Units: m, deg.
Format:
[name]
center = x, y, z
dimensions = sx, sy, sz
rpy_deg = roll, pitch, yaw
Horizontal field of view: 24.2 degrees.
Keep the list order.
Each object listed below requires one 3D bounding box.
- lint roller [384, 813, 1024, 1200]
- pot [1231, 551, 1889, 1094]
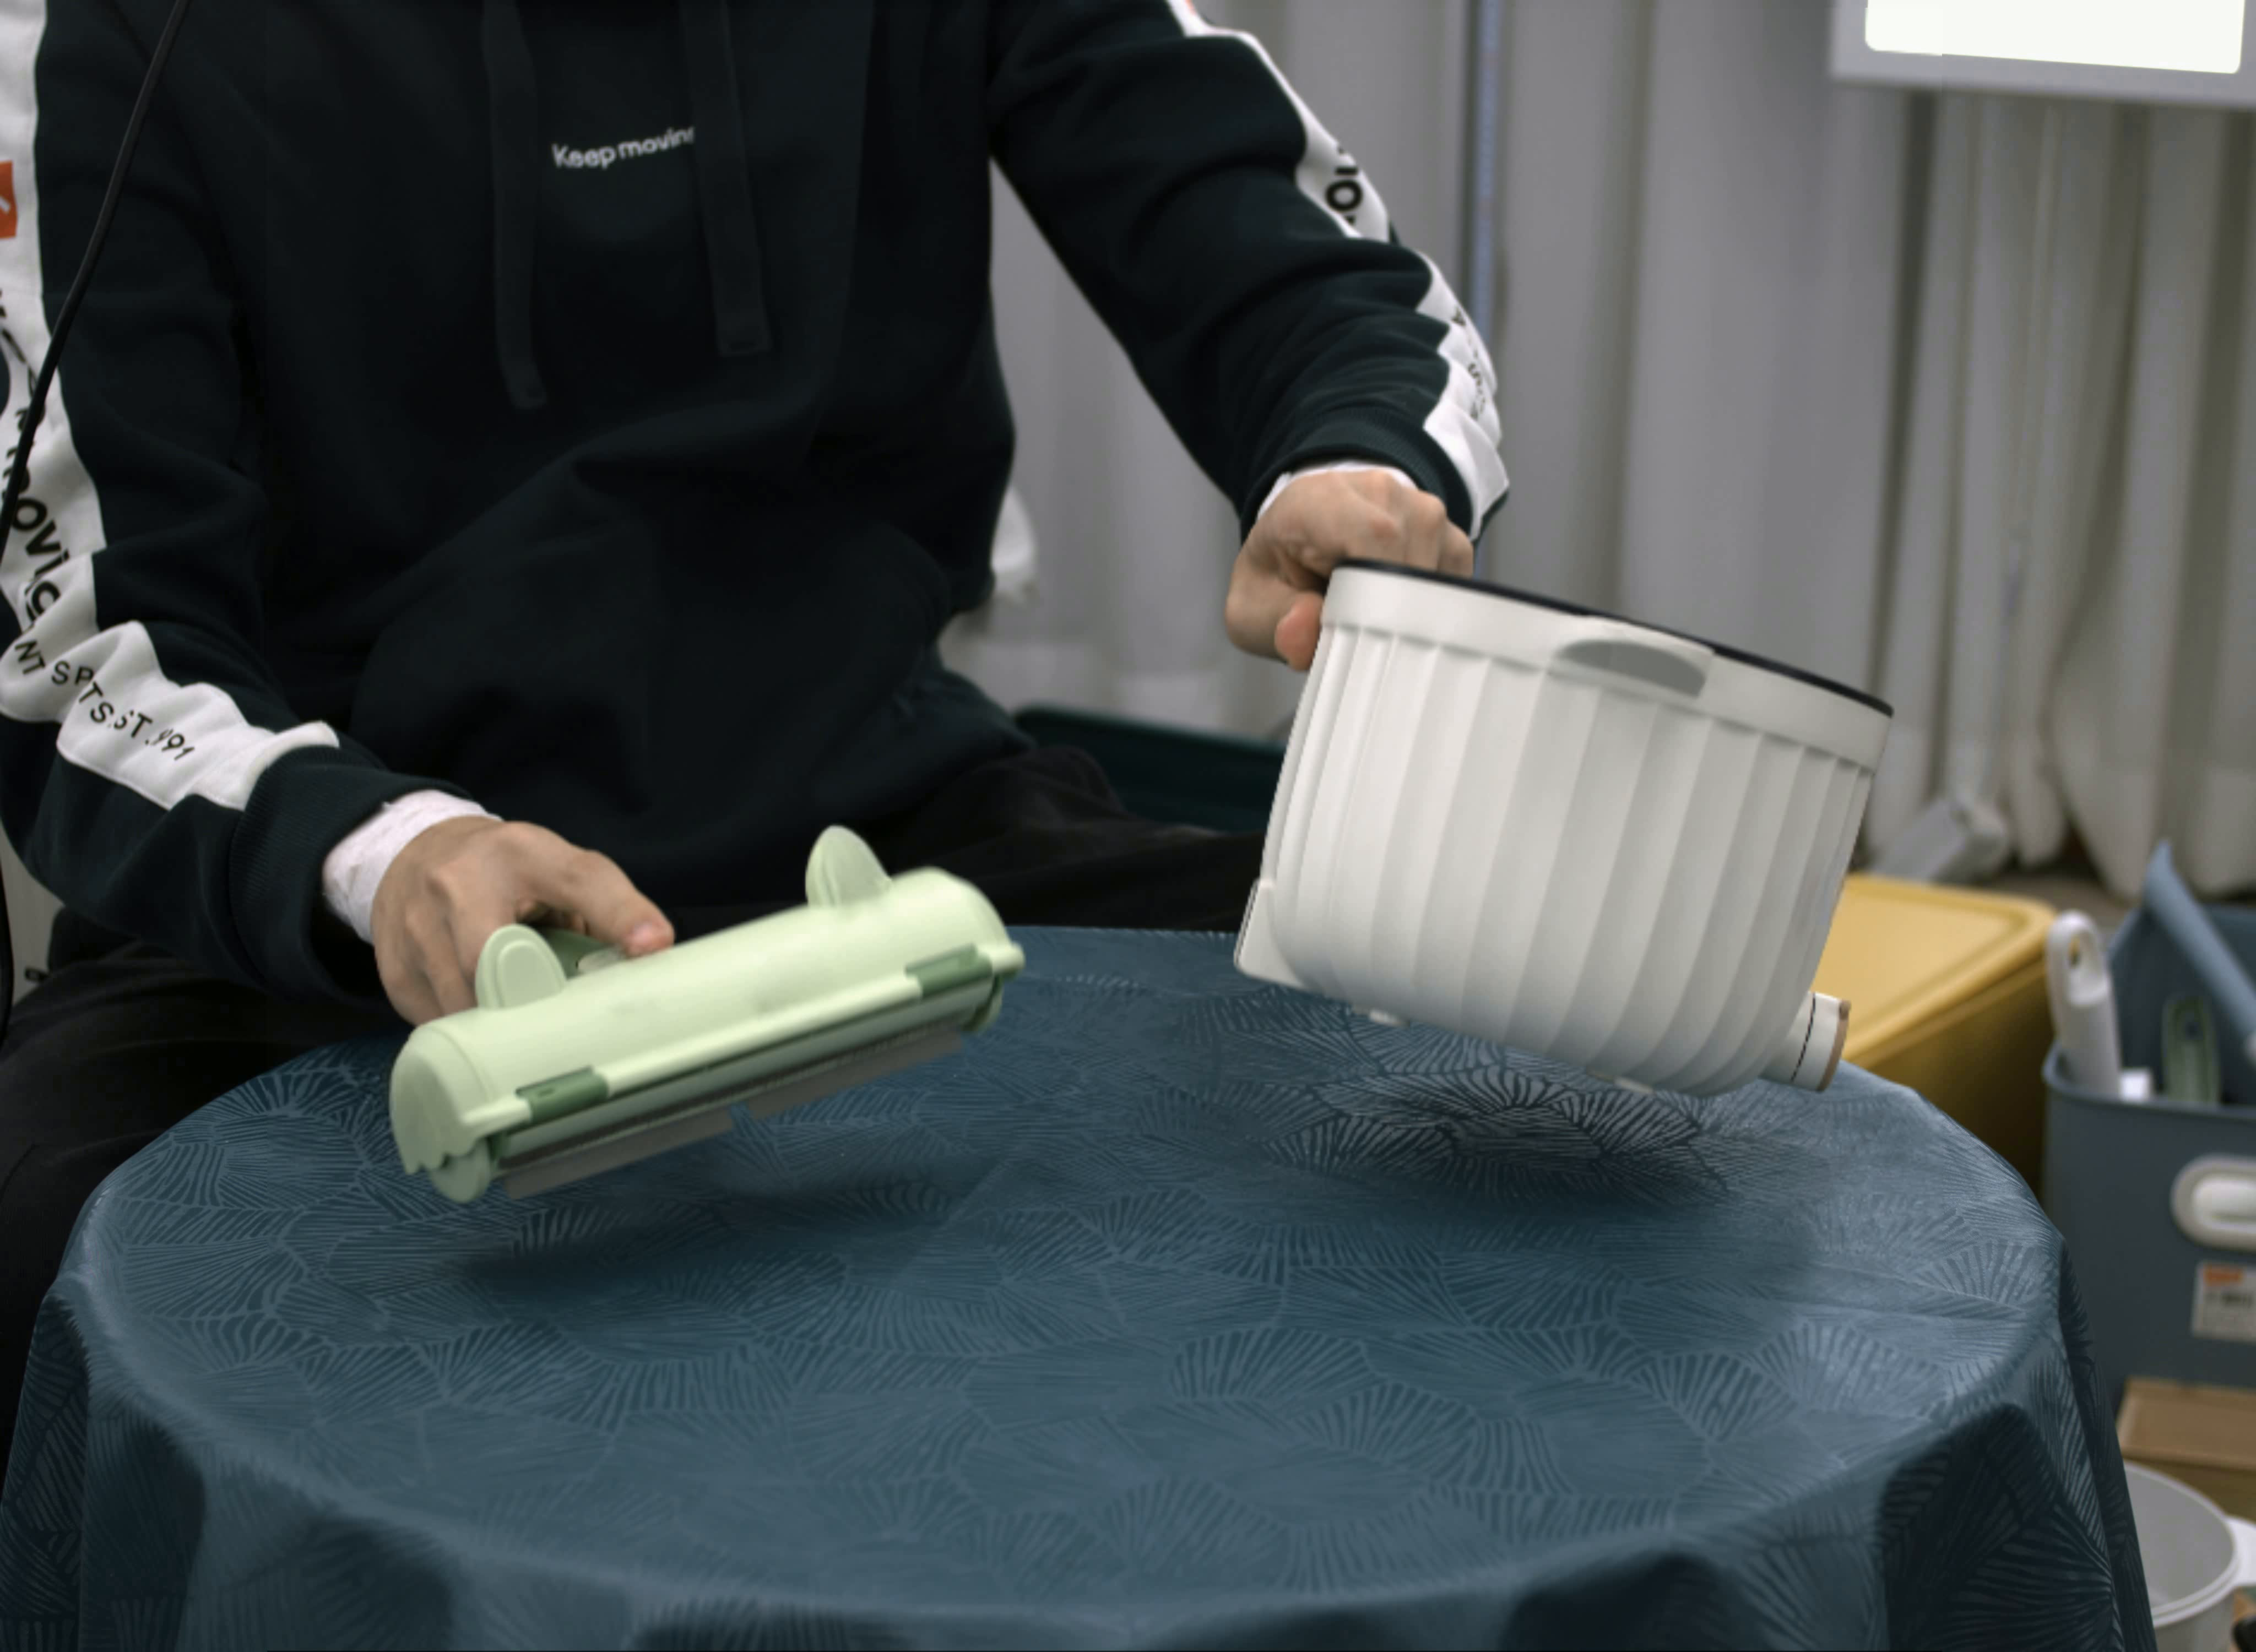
[lint roller]
center = -0.159, 0.037, 1.613
dimensions = 0.199, 0.083, 0.181
rpy_deg = -18, 27, -32
[pot]
center = 0.138, 0.005, 1.643
dimensions = 0.190, 0.143, 0.240
rpy_deg = 13, 0, -3
